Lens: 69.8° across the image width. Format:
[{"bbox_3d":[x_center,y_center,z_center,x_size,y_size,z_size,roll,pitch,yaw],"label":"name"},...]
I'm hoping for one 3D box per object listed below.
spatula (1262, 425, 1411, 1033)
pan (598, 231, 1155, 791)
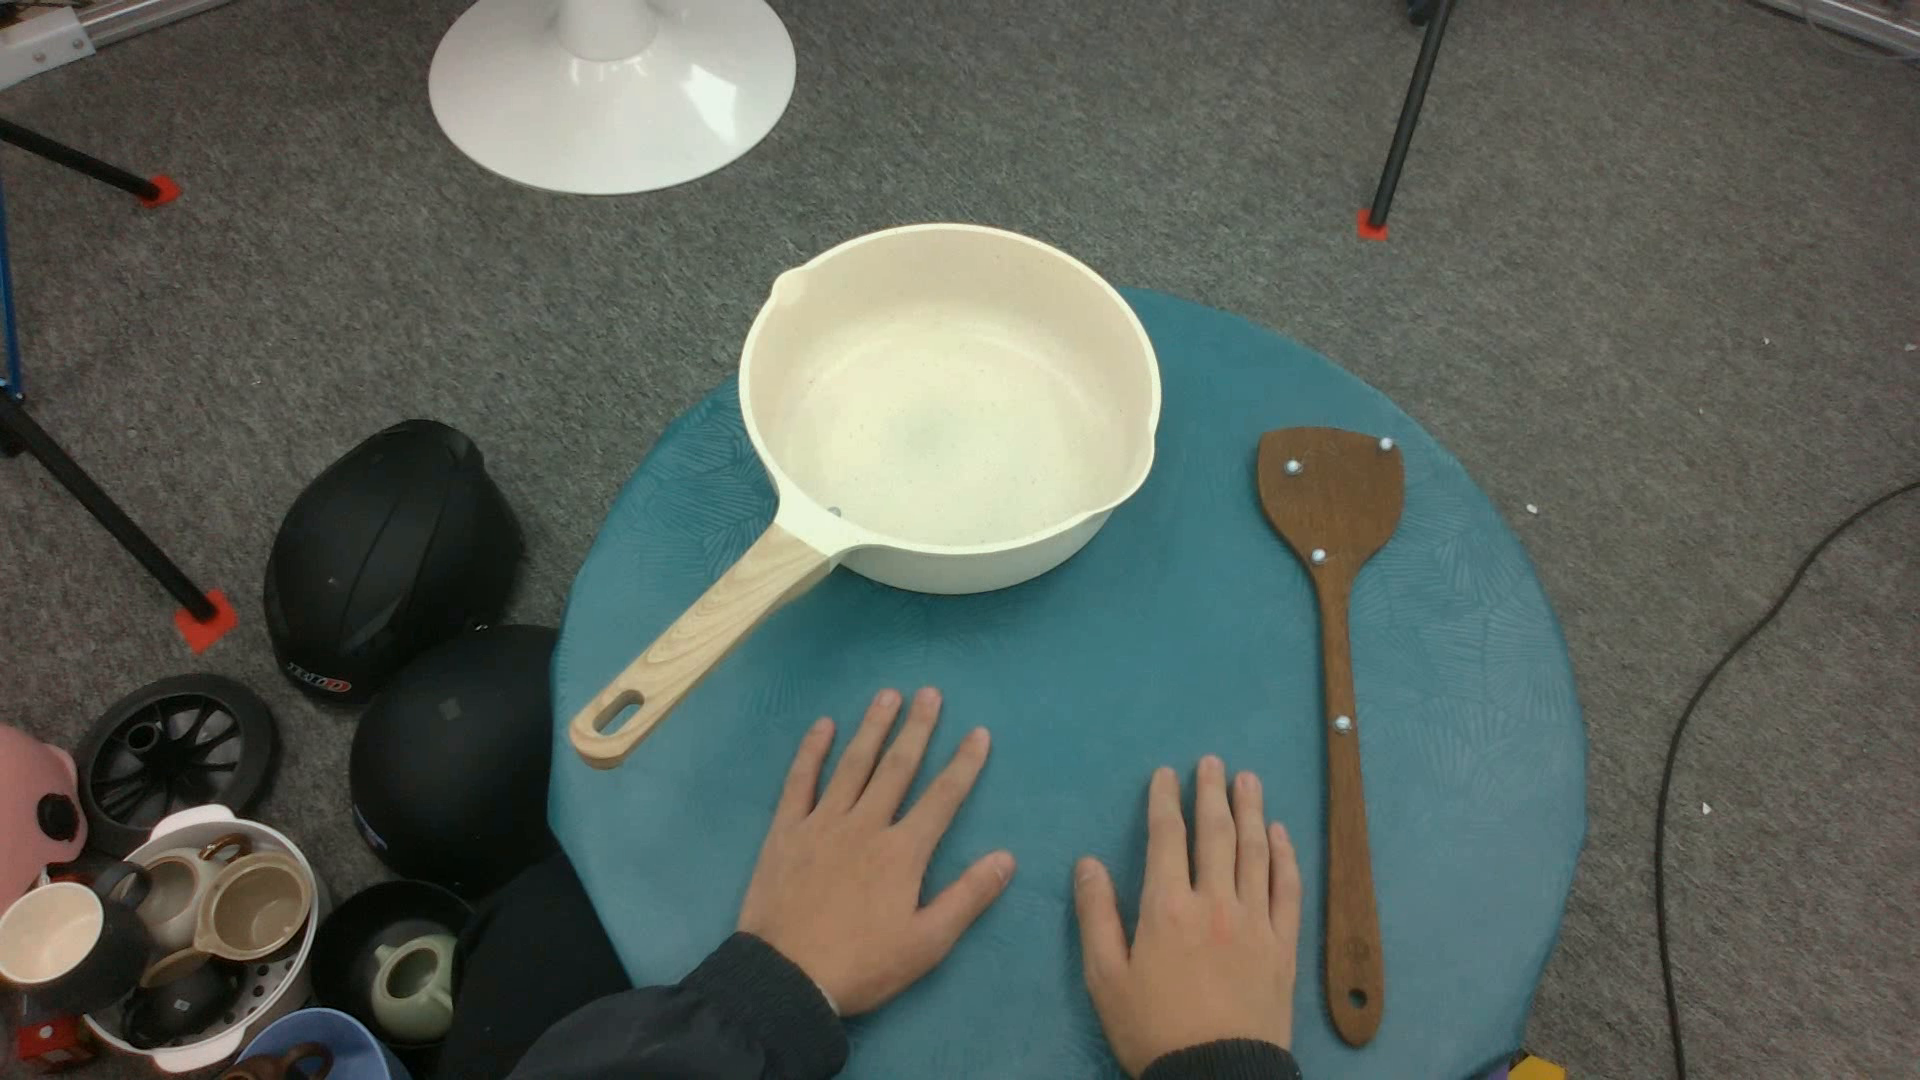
[{"bbox_3d":[0.231,0.088,0.806,0.096,0.016,0.387,4,57,2],"label":"spatula"},{"bbox_3d":[-0.058,-0.013,0.814,0.263,0.101,0.437,30,61,15],"label":"pan"}]
